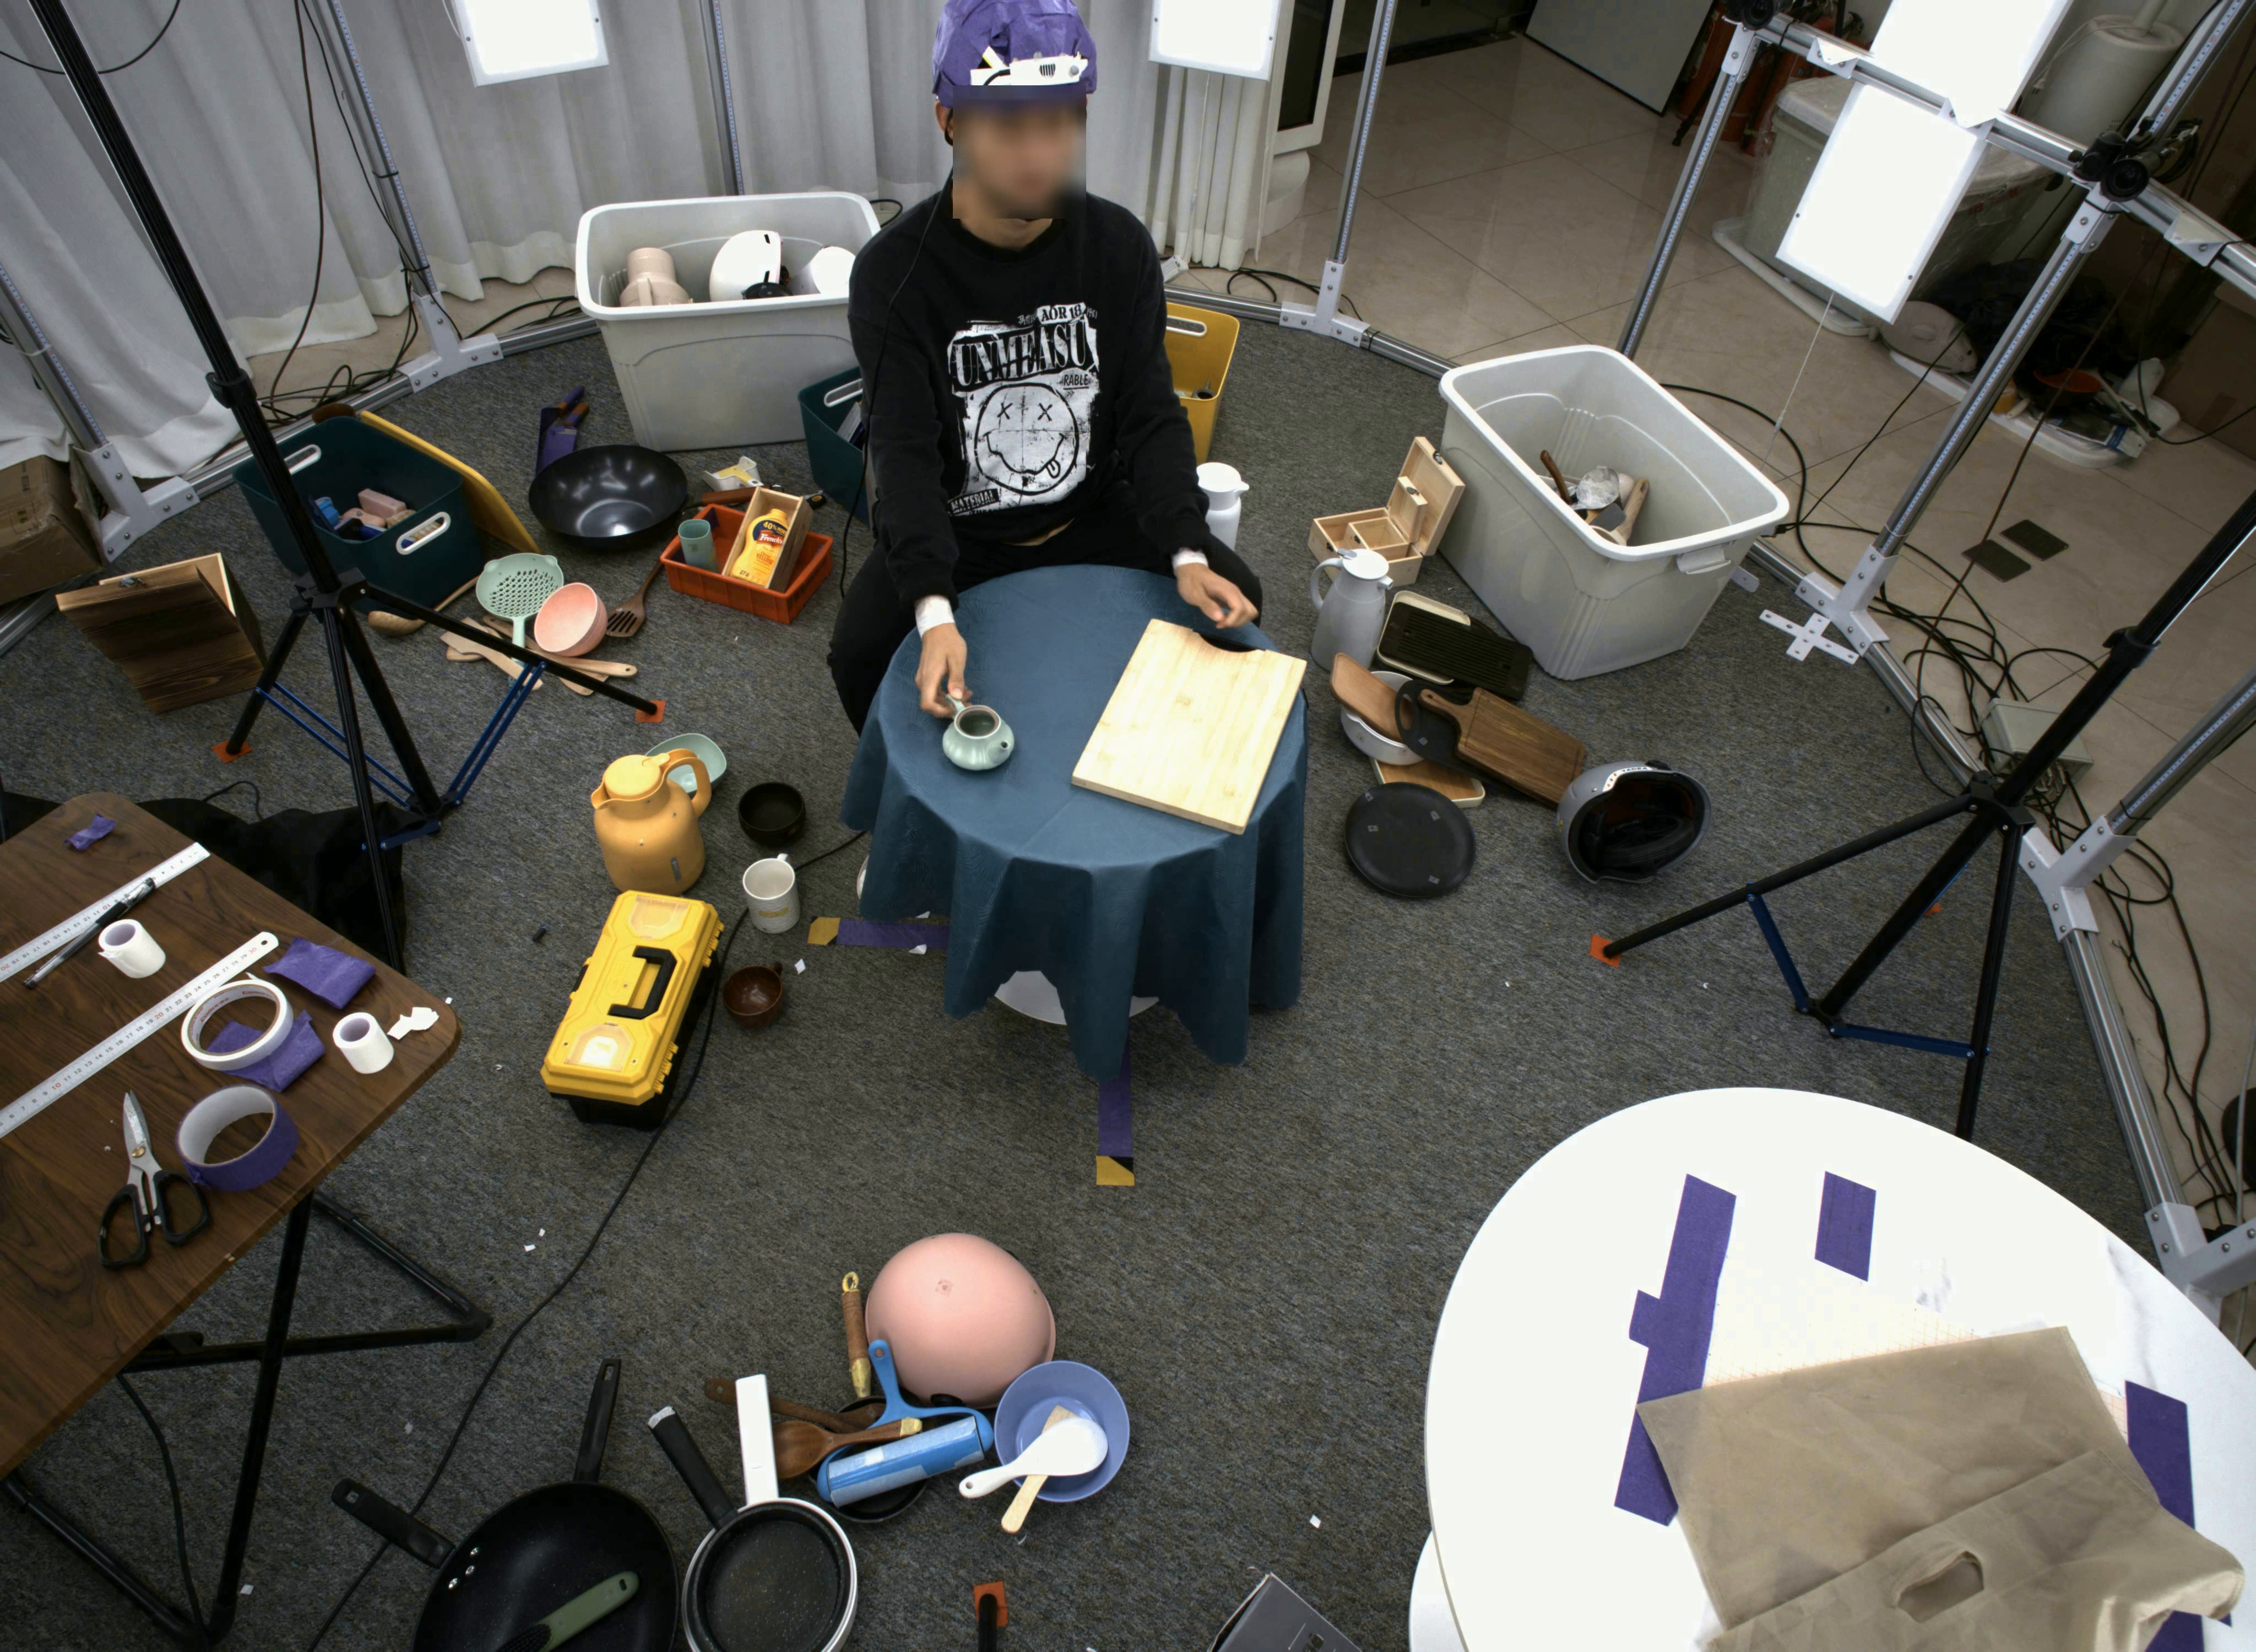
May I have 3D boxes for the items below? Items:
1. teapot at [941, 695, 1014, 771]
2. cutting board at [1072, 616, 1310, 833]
[{"bbox_3d":[-0.204,-0.124,1.726,0.097,0.060,0.139,-35,60,-27],"label":"teapot"},{"bbox_3d":[0.095,-0.152,1.796,0.251,0.023,0.356,16,50,10],"label":"cutting board"}]
